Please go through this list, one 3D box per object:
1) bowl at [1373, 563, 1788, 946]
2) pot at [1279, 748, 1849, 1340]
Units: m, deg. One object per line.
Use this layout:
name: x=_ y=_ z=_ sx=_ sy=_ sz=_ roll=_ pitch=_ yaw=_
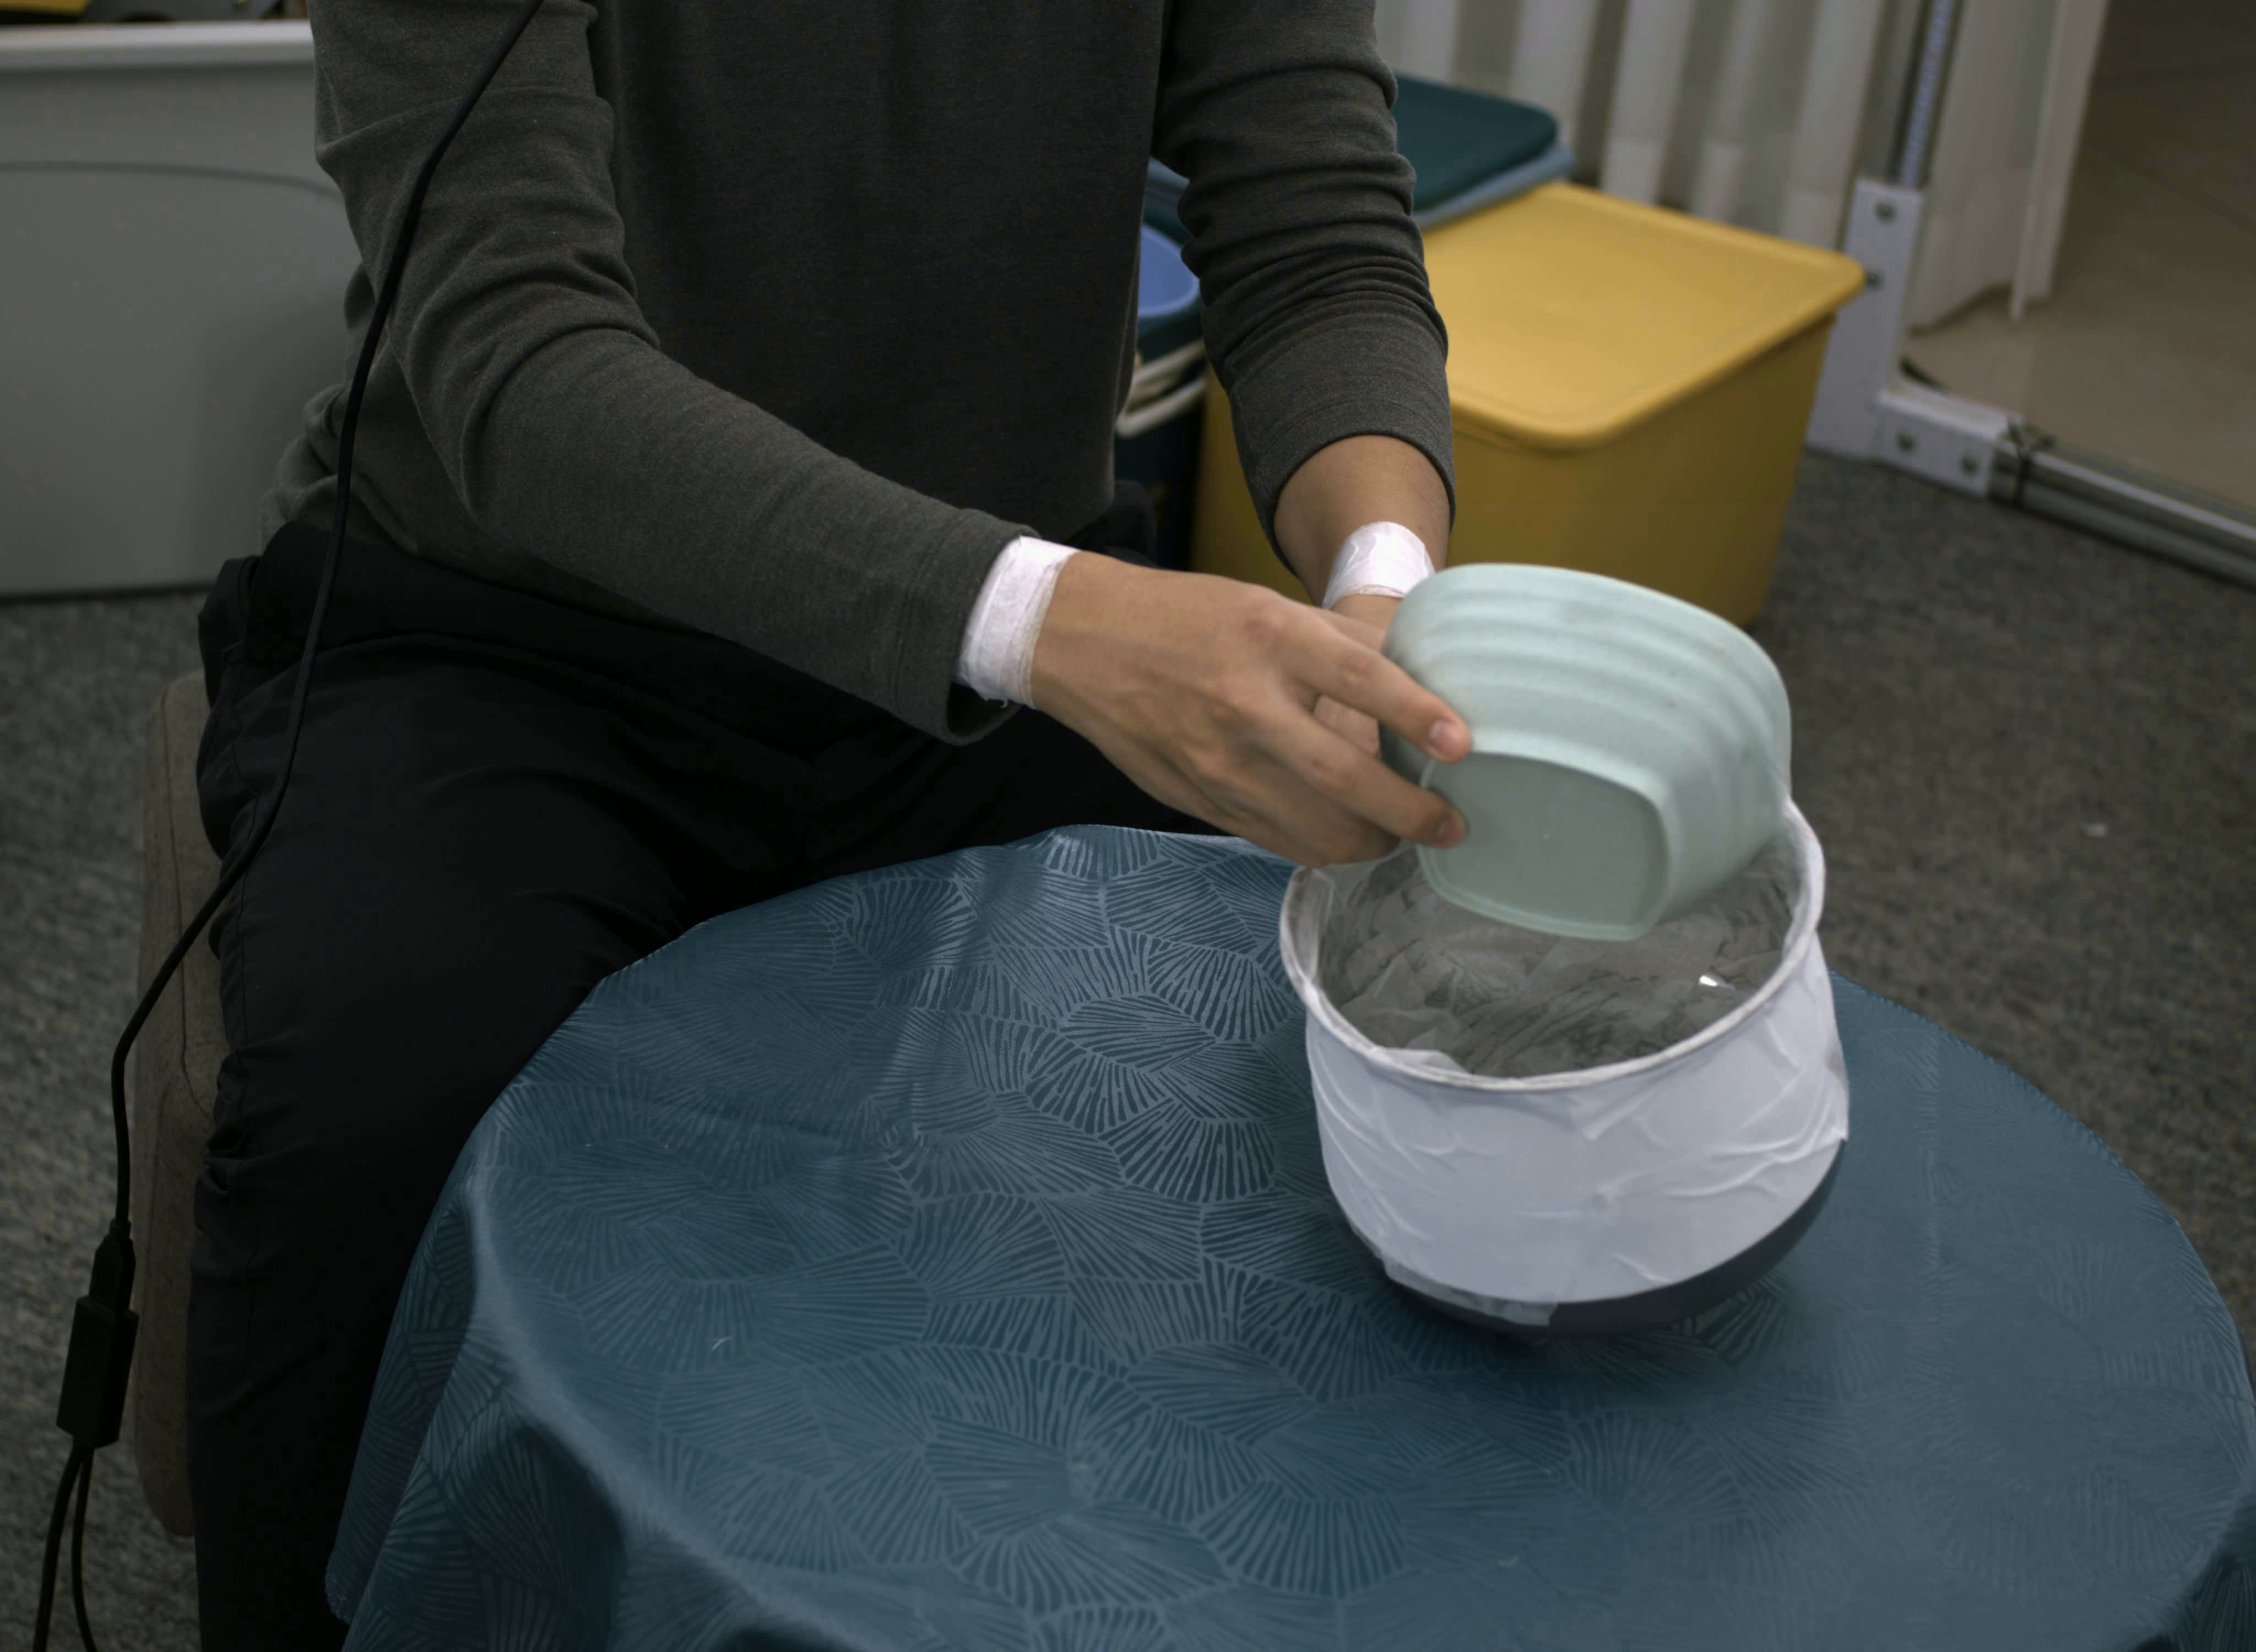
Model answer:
bowl: x=0.137 y=-0.013 z=1.703 sx=0.151 sy=0.150 sz=0.059 roll=15 pitch=50 yaw=14
pot: x=0.135 y=0.056 z=1.773 sx=0.178 sy=0.135 sz=0.236 roll=-22 pitch=40 yaw=-12
